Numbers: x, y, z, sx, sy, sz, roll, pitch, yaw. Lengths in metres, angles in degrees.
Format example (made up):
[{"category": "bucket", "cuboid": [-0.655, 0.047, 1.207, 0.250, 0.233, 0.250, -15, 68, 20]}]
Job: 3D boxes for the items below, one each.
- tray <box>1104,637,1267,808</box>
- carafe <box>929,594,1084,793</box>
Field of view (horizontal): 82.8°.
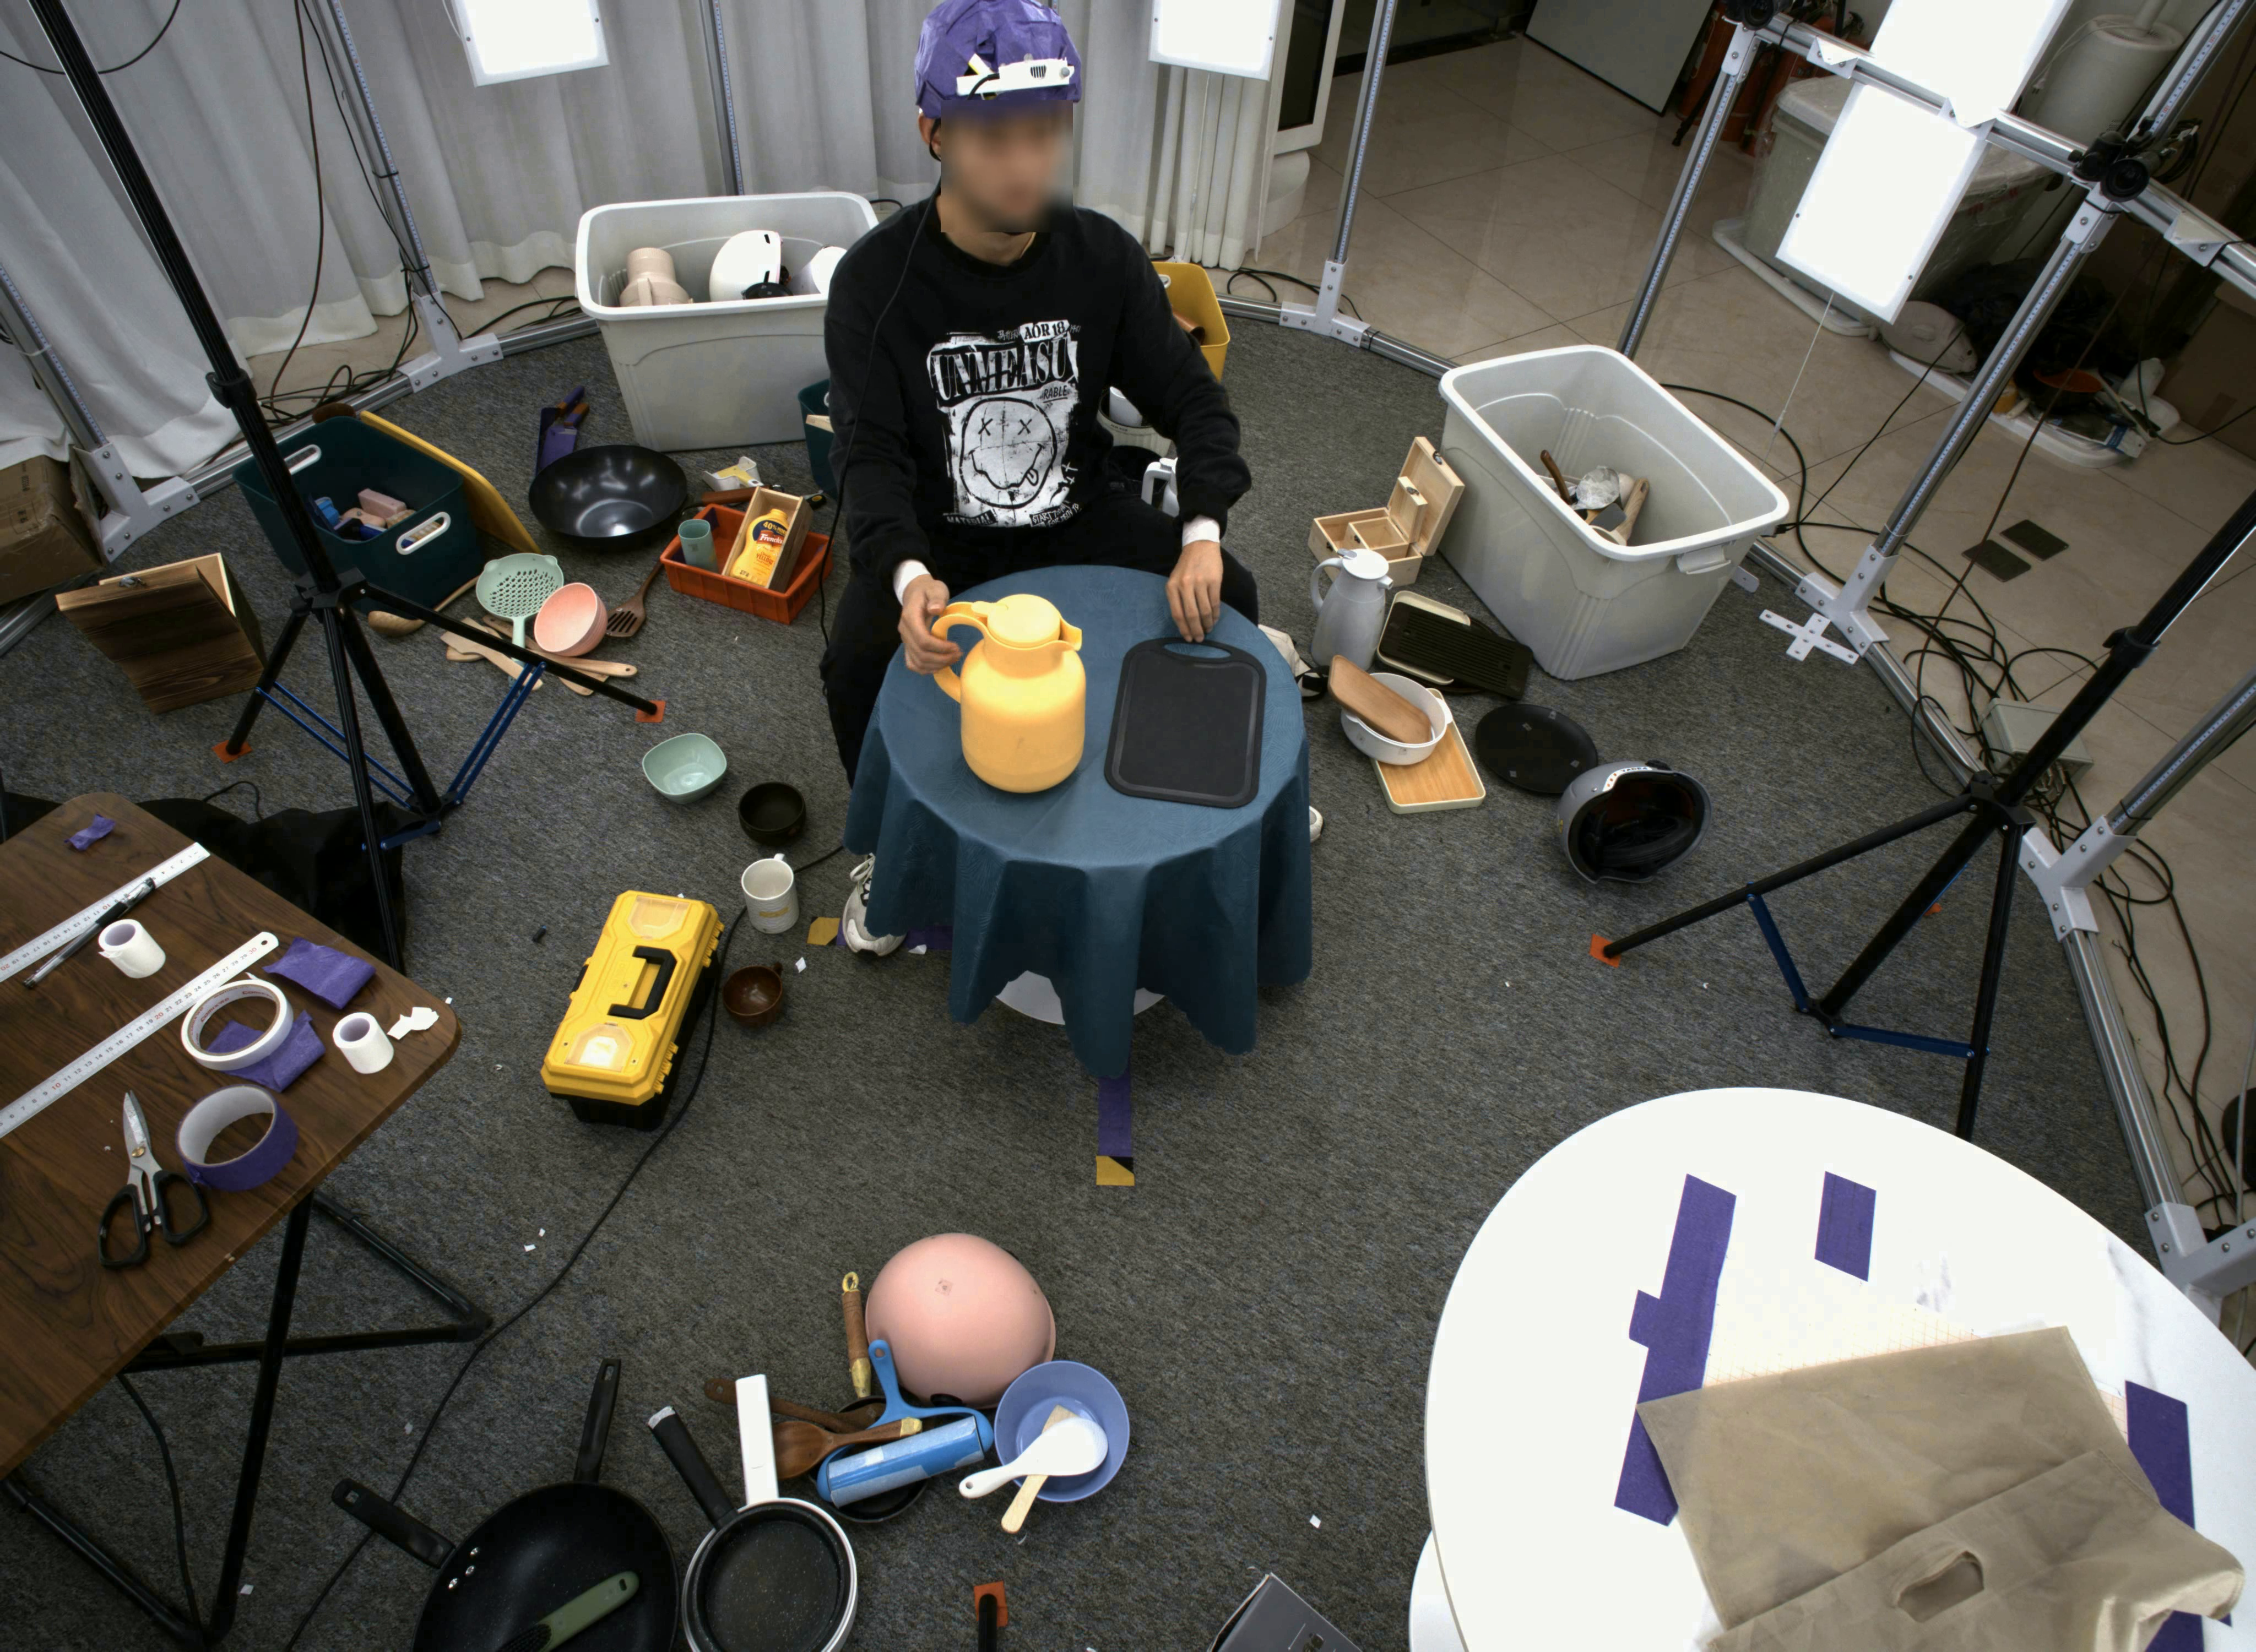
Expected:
[{"category": "tray", "cuboid": [0.086, -0.157, 1.806, 0.211, 0.009, 0.333, 8, 49, 3]}, {"category": "carafe", "cuboid": [-0.155, -0.181, 1.648, 0.203, 0.254, 0.167, 18, 48, 9]}]
